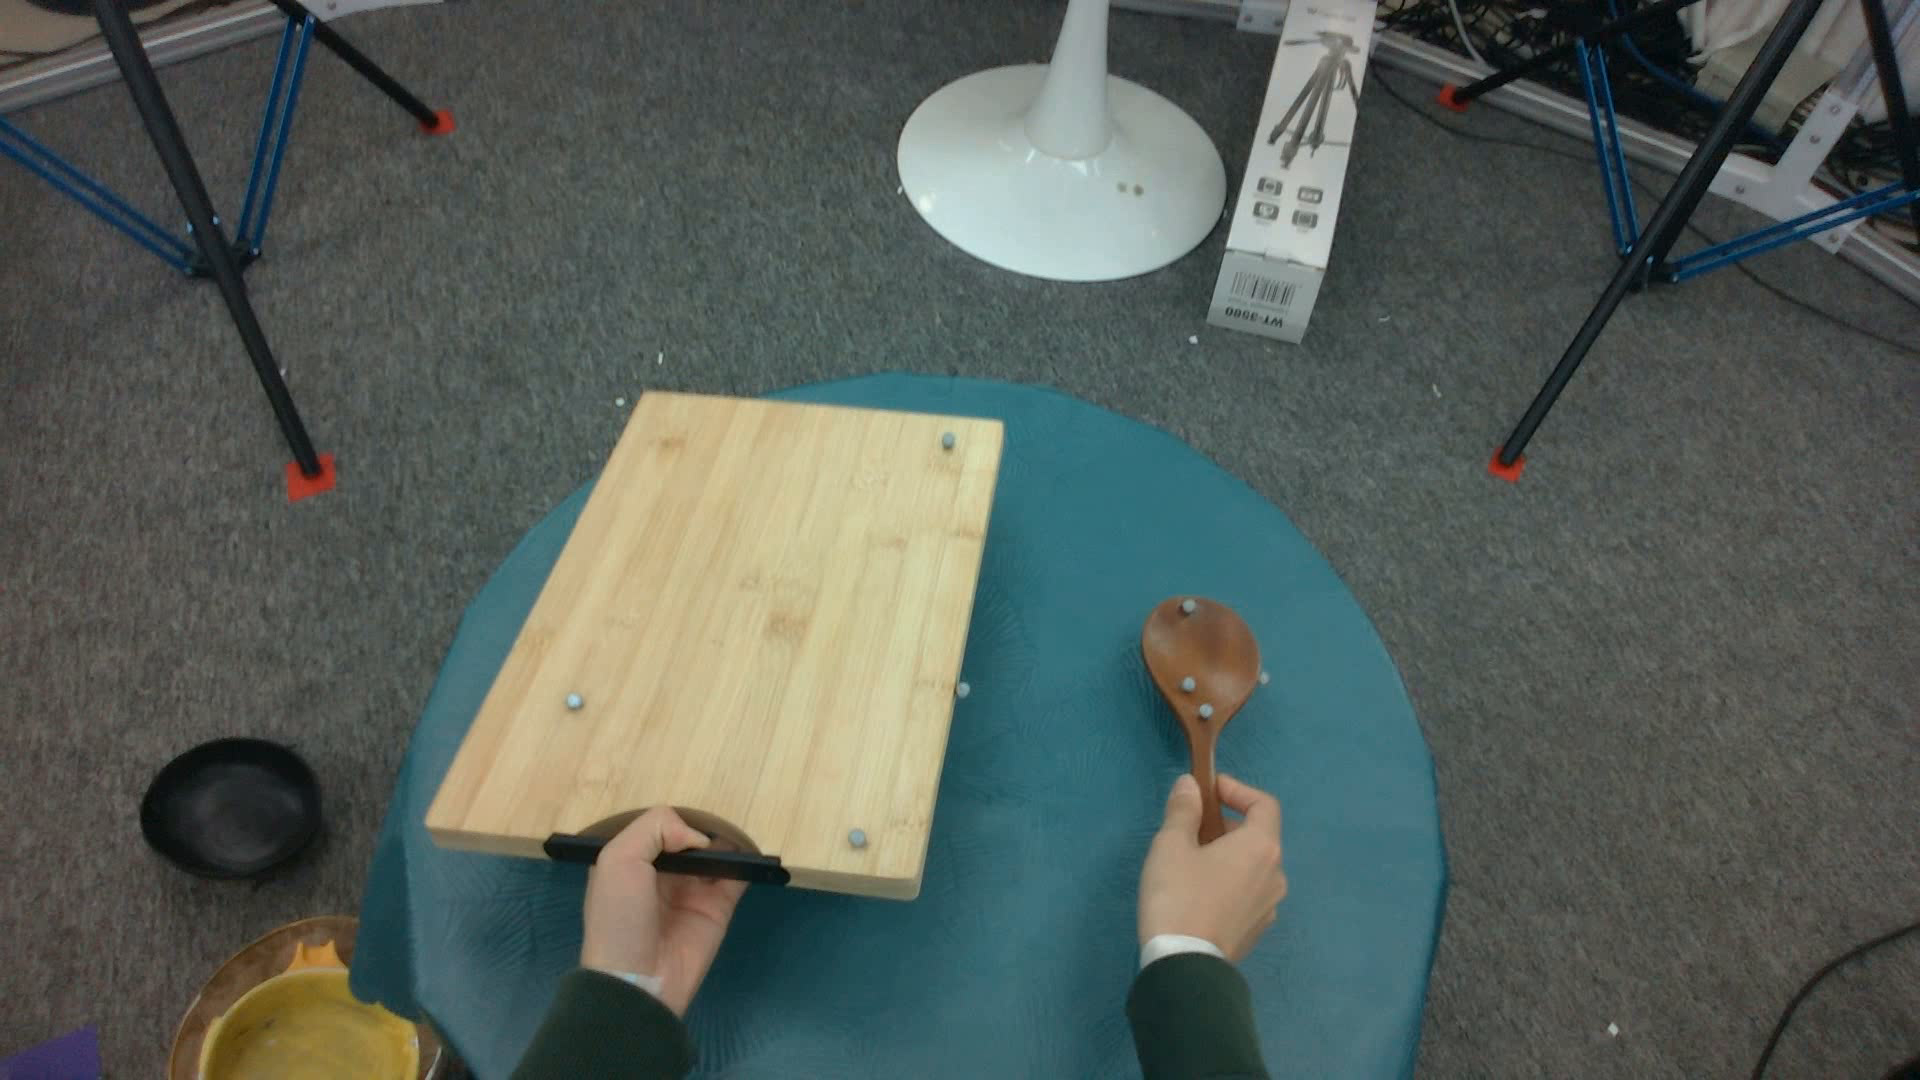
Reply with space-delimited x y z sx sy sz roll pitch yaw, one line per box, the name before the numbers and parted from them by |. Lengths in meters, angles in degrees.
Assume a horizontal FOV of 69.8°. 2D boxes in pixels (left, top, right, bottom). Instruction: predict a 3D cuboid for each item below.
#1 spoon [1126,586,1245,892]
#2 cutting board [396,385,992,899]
spoon | 0.129 0.105 0.780 0.075 0.017 0.217 12 41 -5
cutting board | -0.123 0.034 0.769 0.250 0.023 0.350 4 44 5
